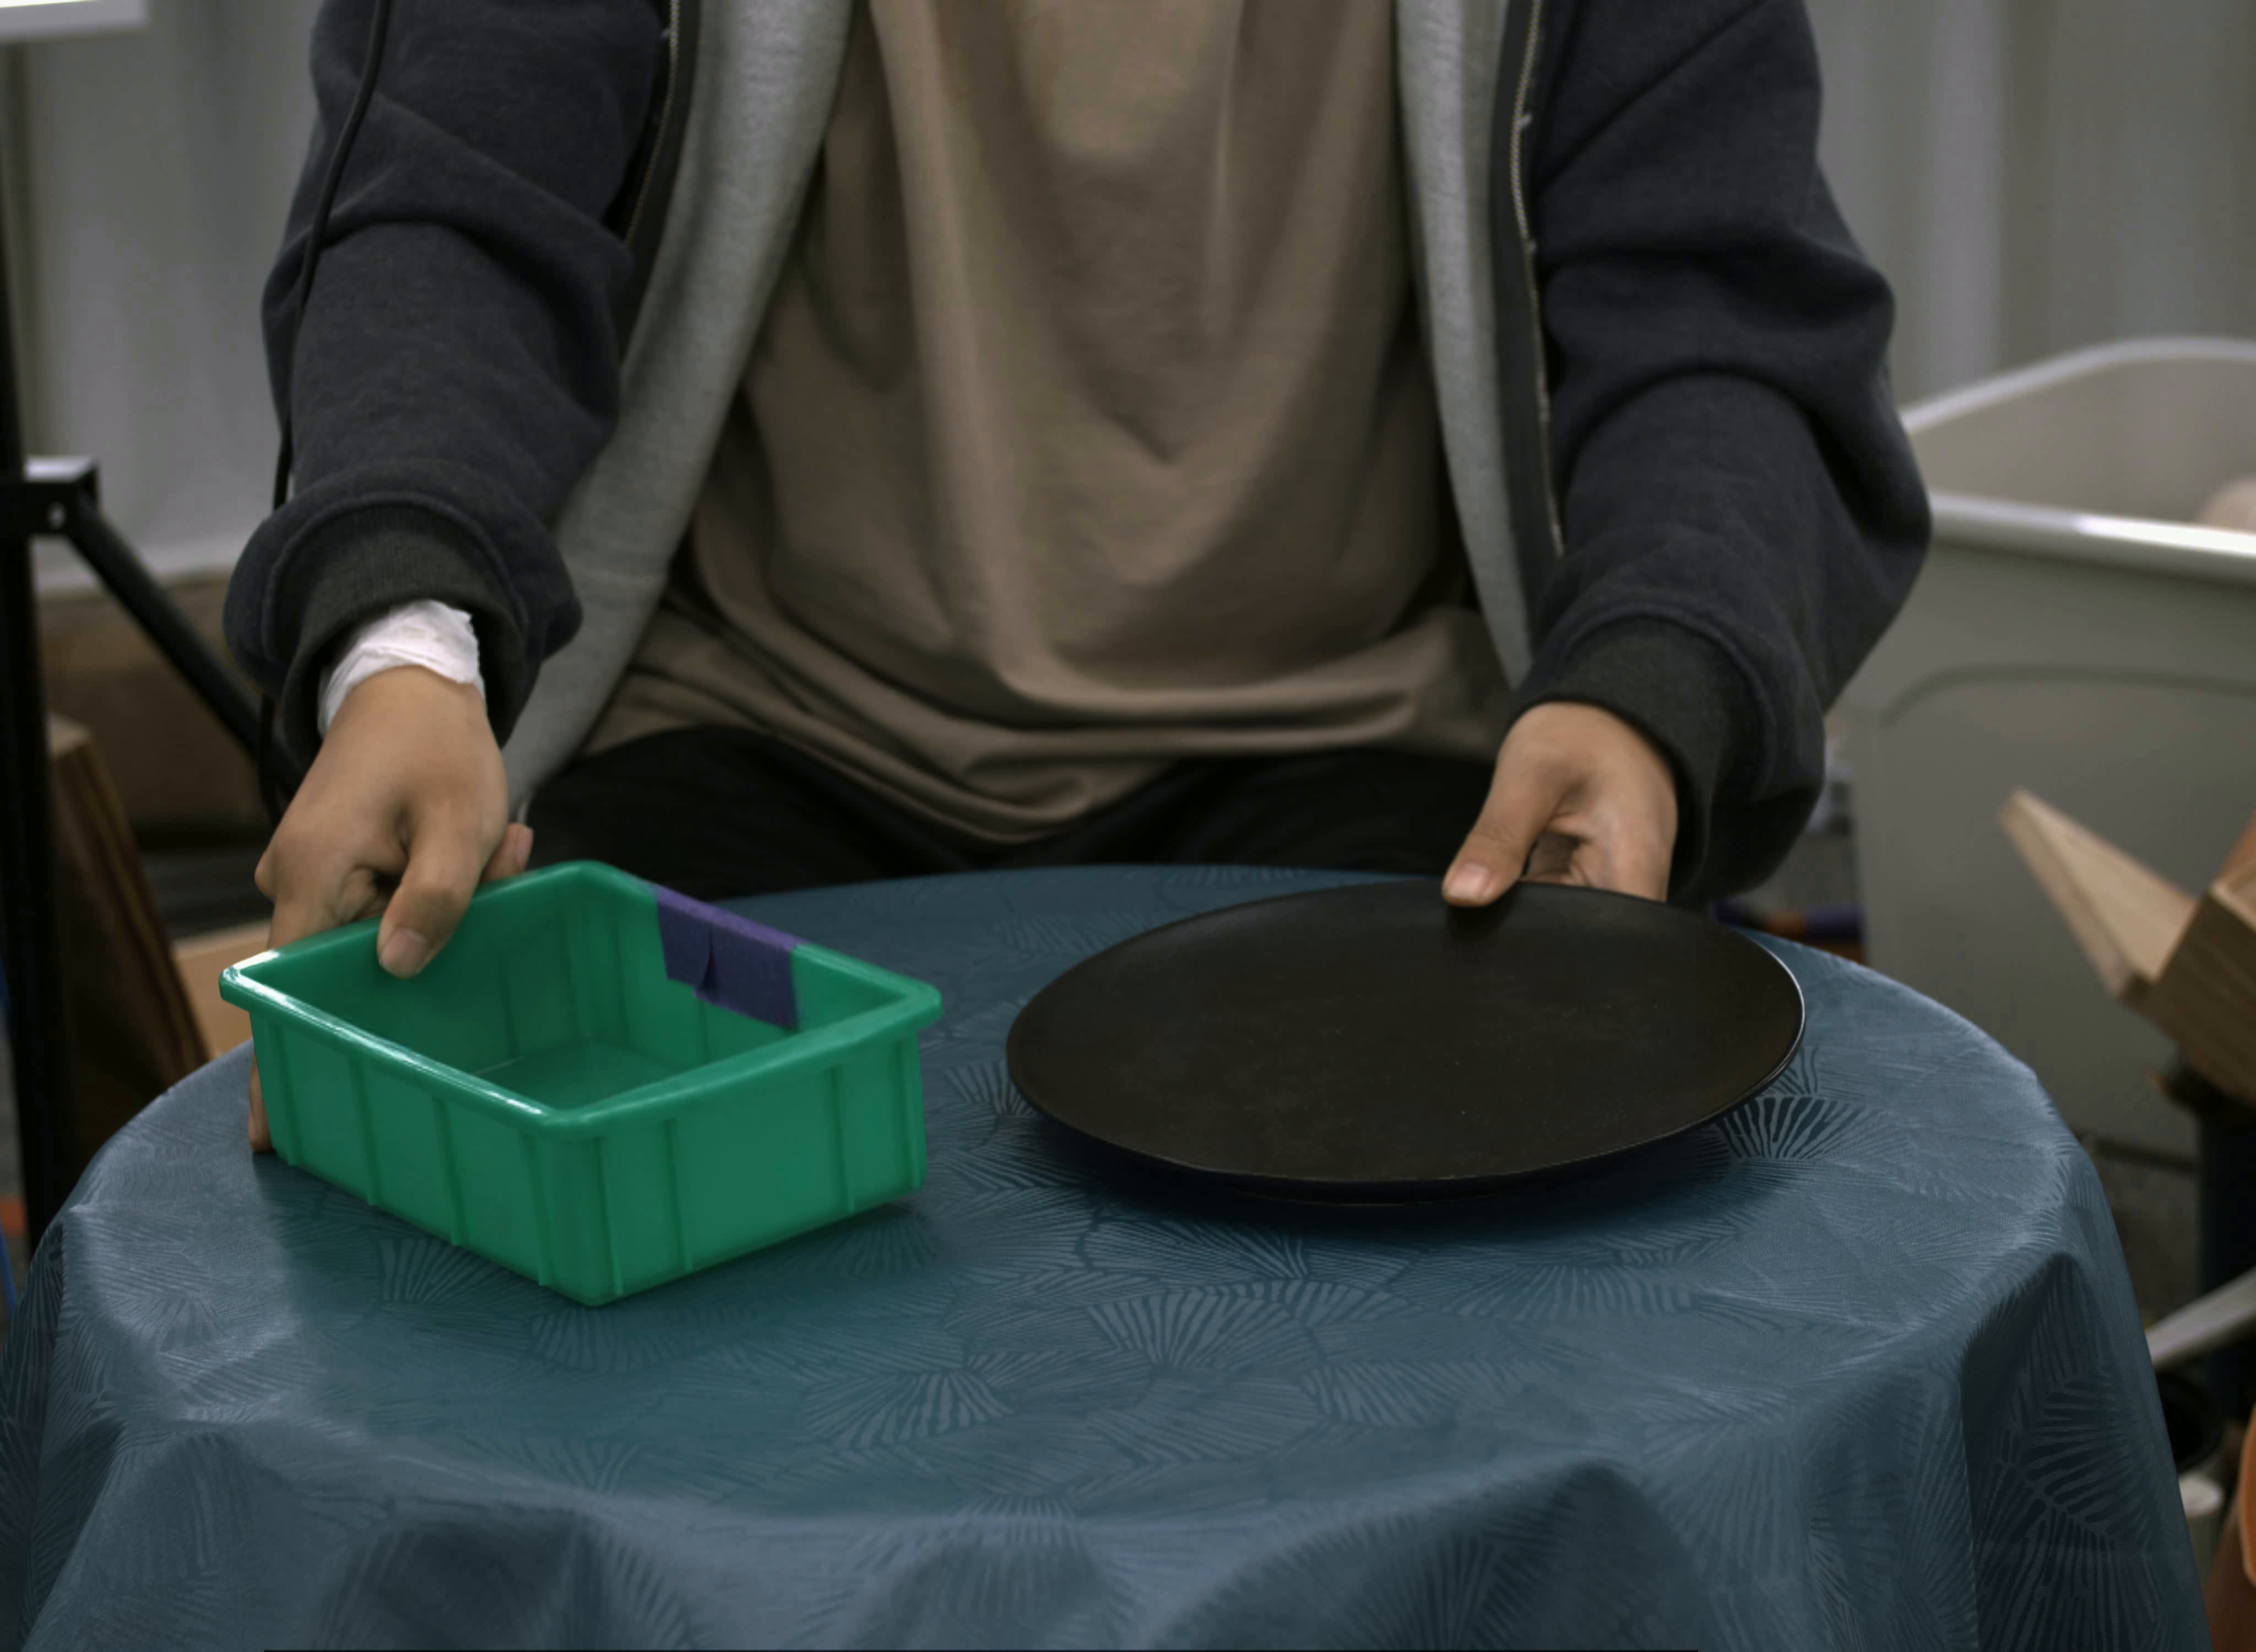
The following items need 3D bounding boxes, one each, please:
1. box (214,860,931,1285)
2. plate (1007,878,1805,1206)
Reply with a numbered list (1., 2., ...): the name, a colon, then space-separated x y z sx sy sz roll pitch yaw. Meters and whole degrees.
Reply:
1. box: -0.163 0.072 1.582 0.135 0.065 0.215 -17 19 -35
2. plate: 0.084 0.069 1.617 0.243 0.023 0.246 -5 20 0
